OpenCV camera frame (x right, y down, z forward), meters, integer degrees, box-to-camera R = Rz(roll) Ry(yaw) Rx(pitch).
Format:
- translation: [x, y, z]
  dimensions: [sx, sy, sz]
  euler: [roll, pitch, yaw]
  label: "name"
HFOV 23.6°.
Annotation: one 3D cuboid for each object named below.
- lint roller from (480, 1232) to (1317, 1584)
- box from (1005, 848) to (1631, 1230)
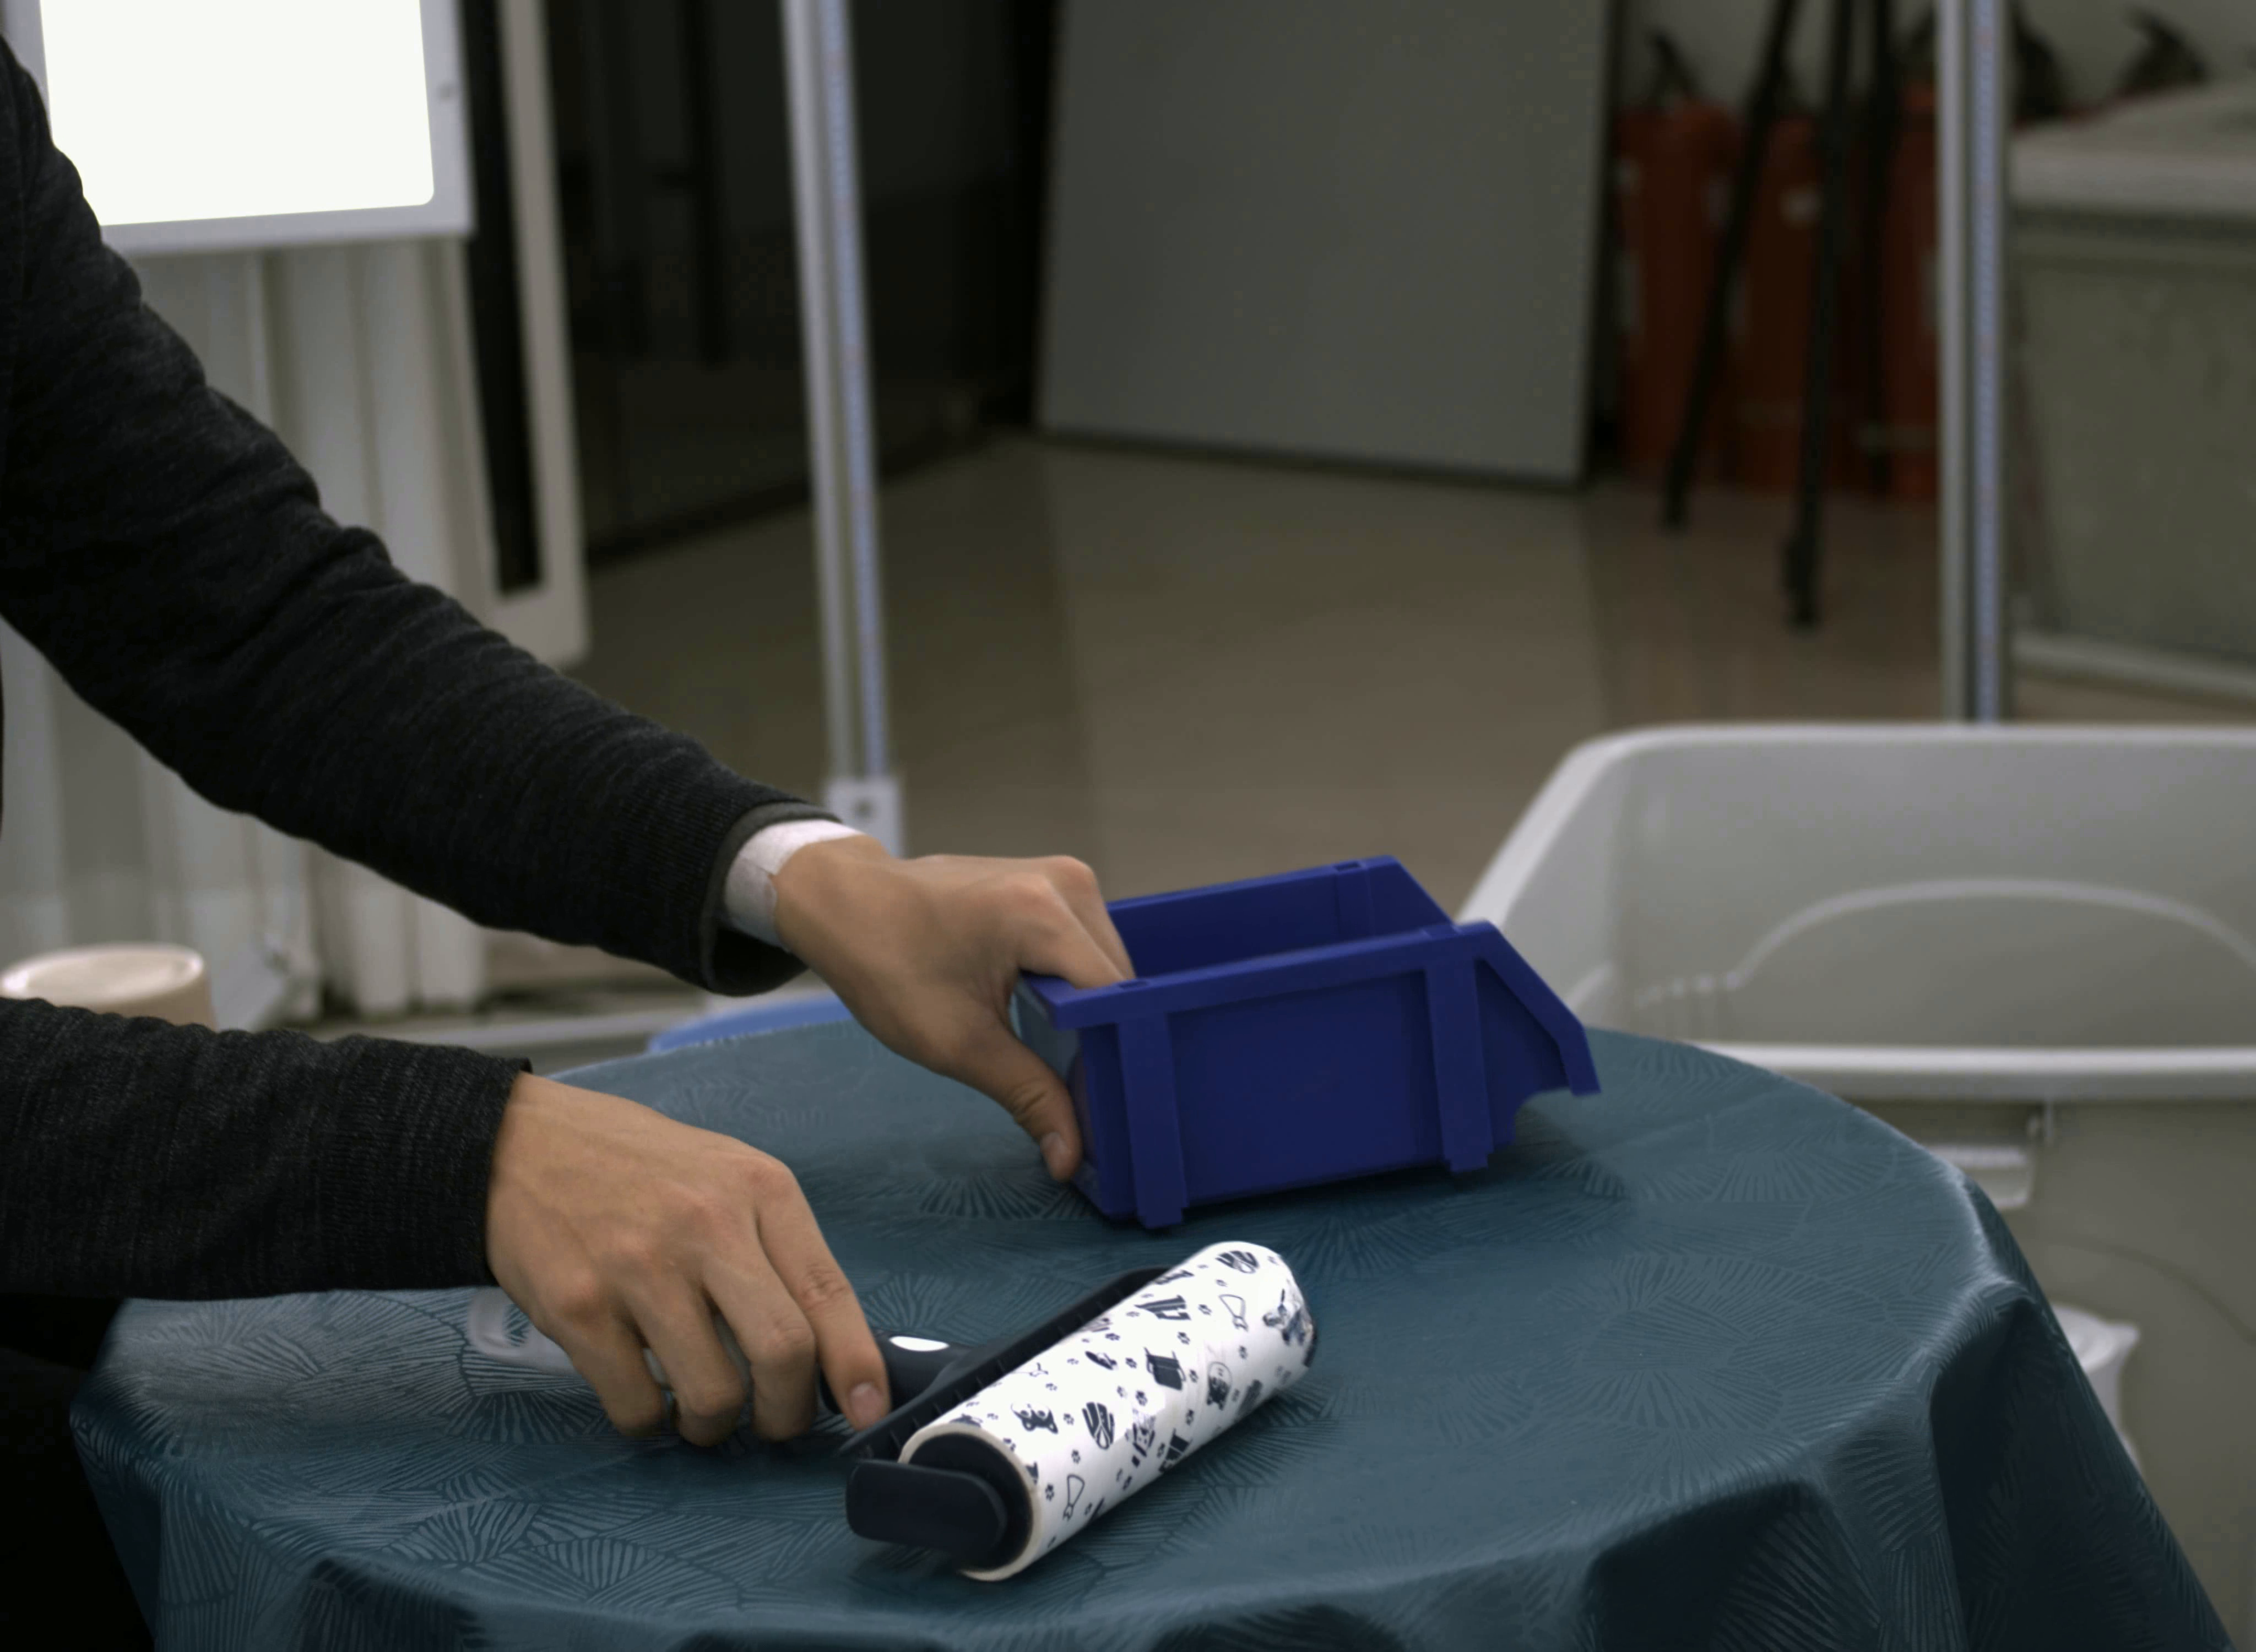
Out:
- translation: [-0.089, 0.155, 1.559]
  dimensions: [0.248, 0.051, 0.173]
  euler: [5, 17, 32]
  label: "lint roller"
- translation: [0.062, 0.067, 1.785]
  dimensions: [0.176, 0.083, 0.125]
  euler: [-11, 13, -11]
  label: "box"
